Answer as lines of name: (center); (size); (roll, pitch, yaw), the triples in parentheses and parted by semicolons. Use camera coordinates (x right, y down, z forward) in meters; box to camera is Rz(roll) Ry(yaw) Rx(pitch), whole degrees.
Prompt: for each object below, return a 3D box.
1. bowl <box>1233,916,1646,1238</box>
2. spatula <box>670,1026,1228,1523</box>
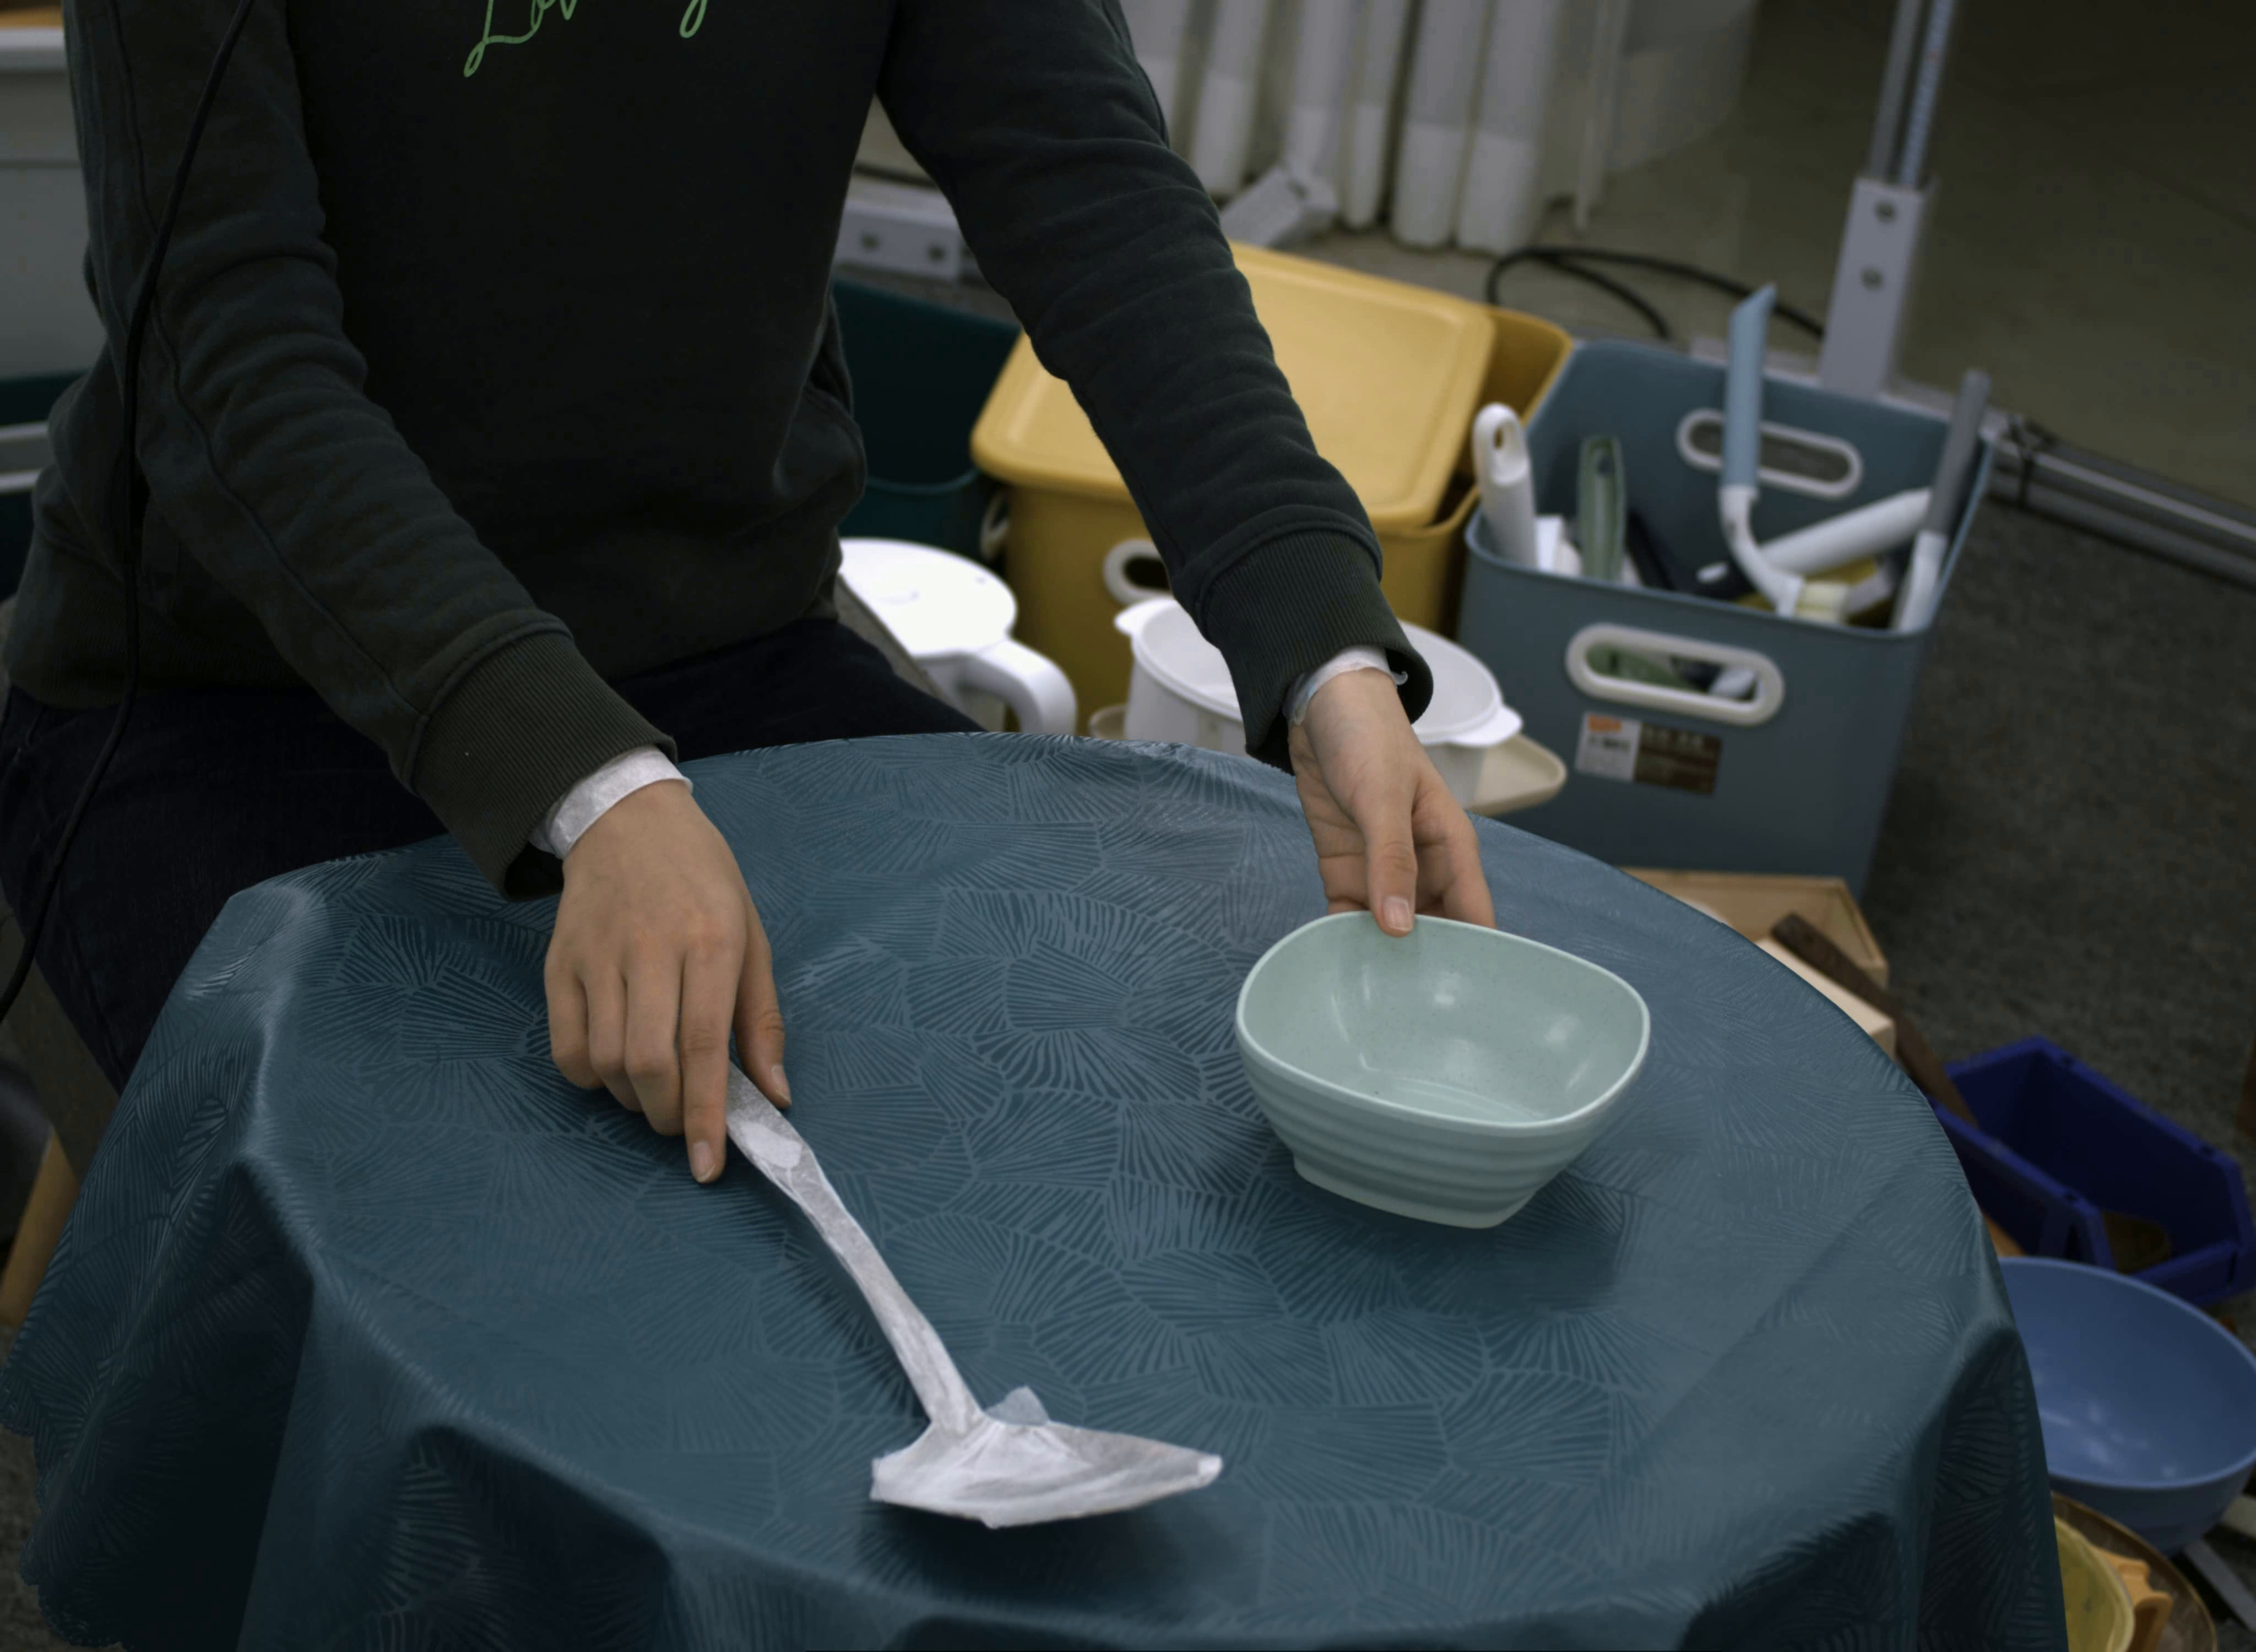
bowl: (0.103, 0.092, 1.830); (0.151, 0.058, 0.152); (7, 26, -4)
spatula: (-0.083, 0.136, 1.715); (0.098, 0.044, 0.368); (-8, 30, -24)
